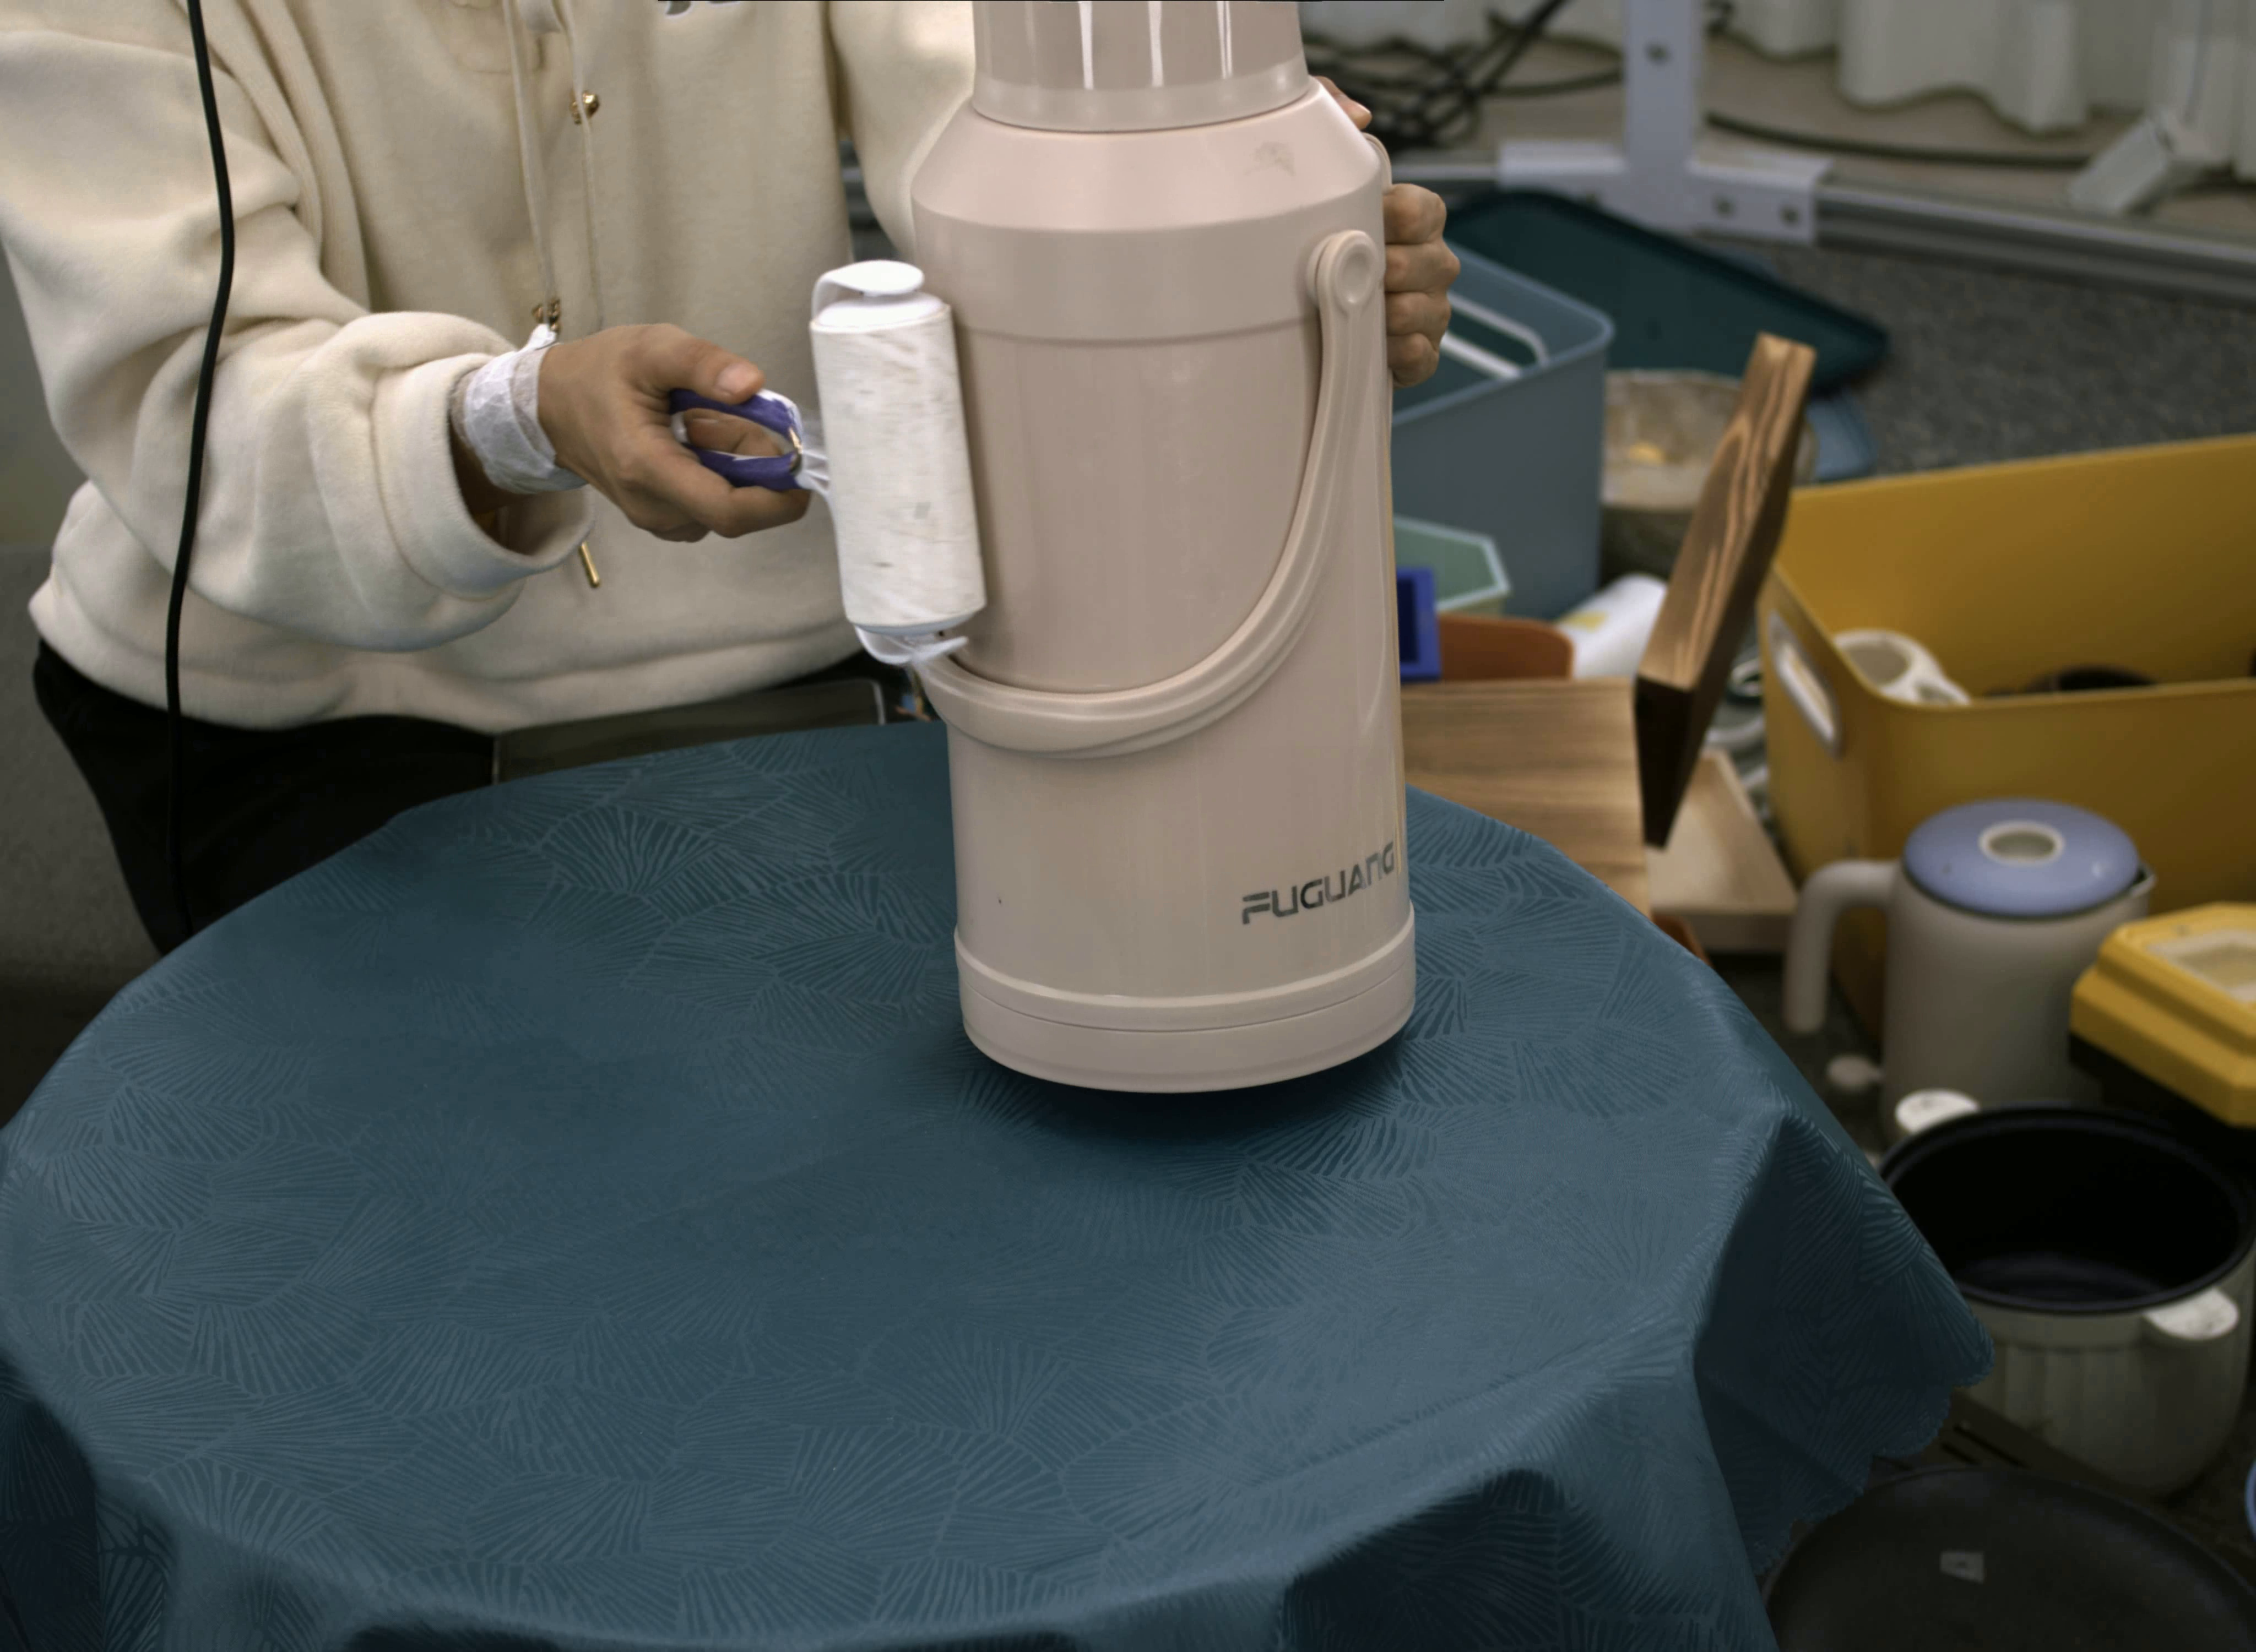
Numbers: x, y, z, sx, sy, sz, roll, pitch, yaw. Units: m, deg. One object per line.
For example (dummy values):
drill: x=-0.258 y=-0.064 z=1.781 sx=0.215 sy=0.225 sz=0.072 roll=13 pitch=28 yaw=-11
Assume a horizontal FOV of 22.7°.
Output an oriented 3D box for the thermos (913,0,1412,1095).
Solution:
thermos: x=0.021 y=-0.127 z=1.898 sx=0.174 sy=0.404 sz=0.209 roll=11 pitch=22 yaw=39

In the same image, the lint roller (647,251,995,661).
lint roller: x=-0.116 y=-0.129 z=1.876 sx=0.050 sy=0.132 sz=0.180 roll=-19 pitch=20 yaw=-41
